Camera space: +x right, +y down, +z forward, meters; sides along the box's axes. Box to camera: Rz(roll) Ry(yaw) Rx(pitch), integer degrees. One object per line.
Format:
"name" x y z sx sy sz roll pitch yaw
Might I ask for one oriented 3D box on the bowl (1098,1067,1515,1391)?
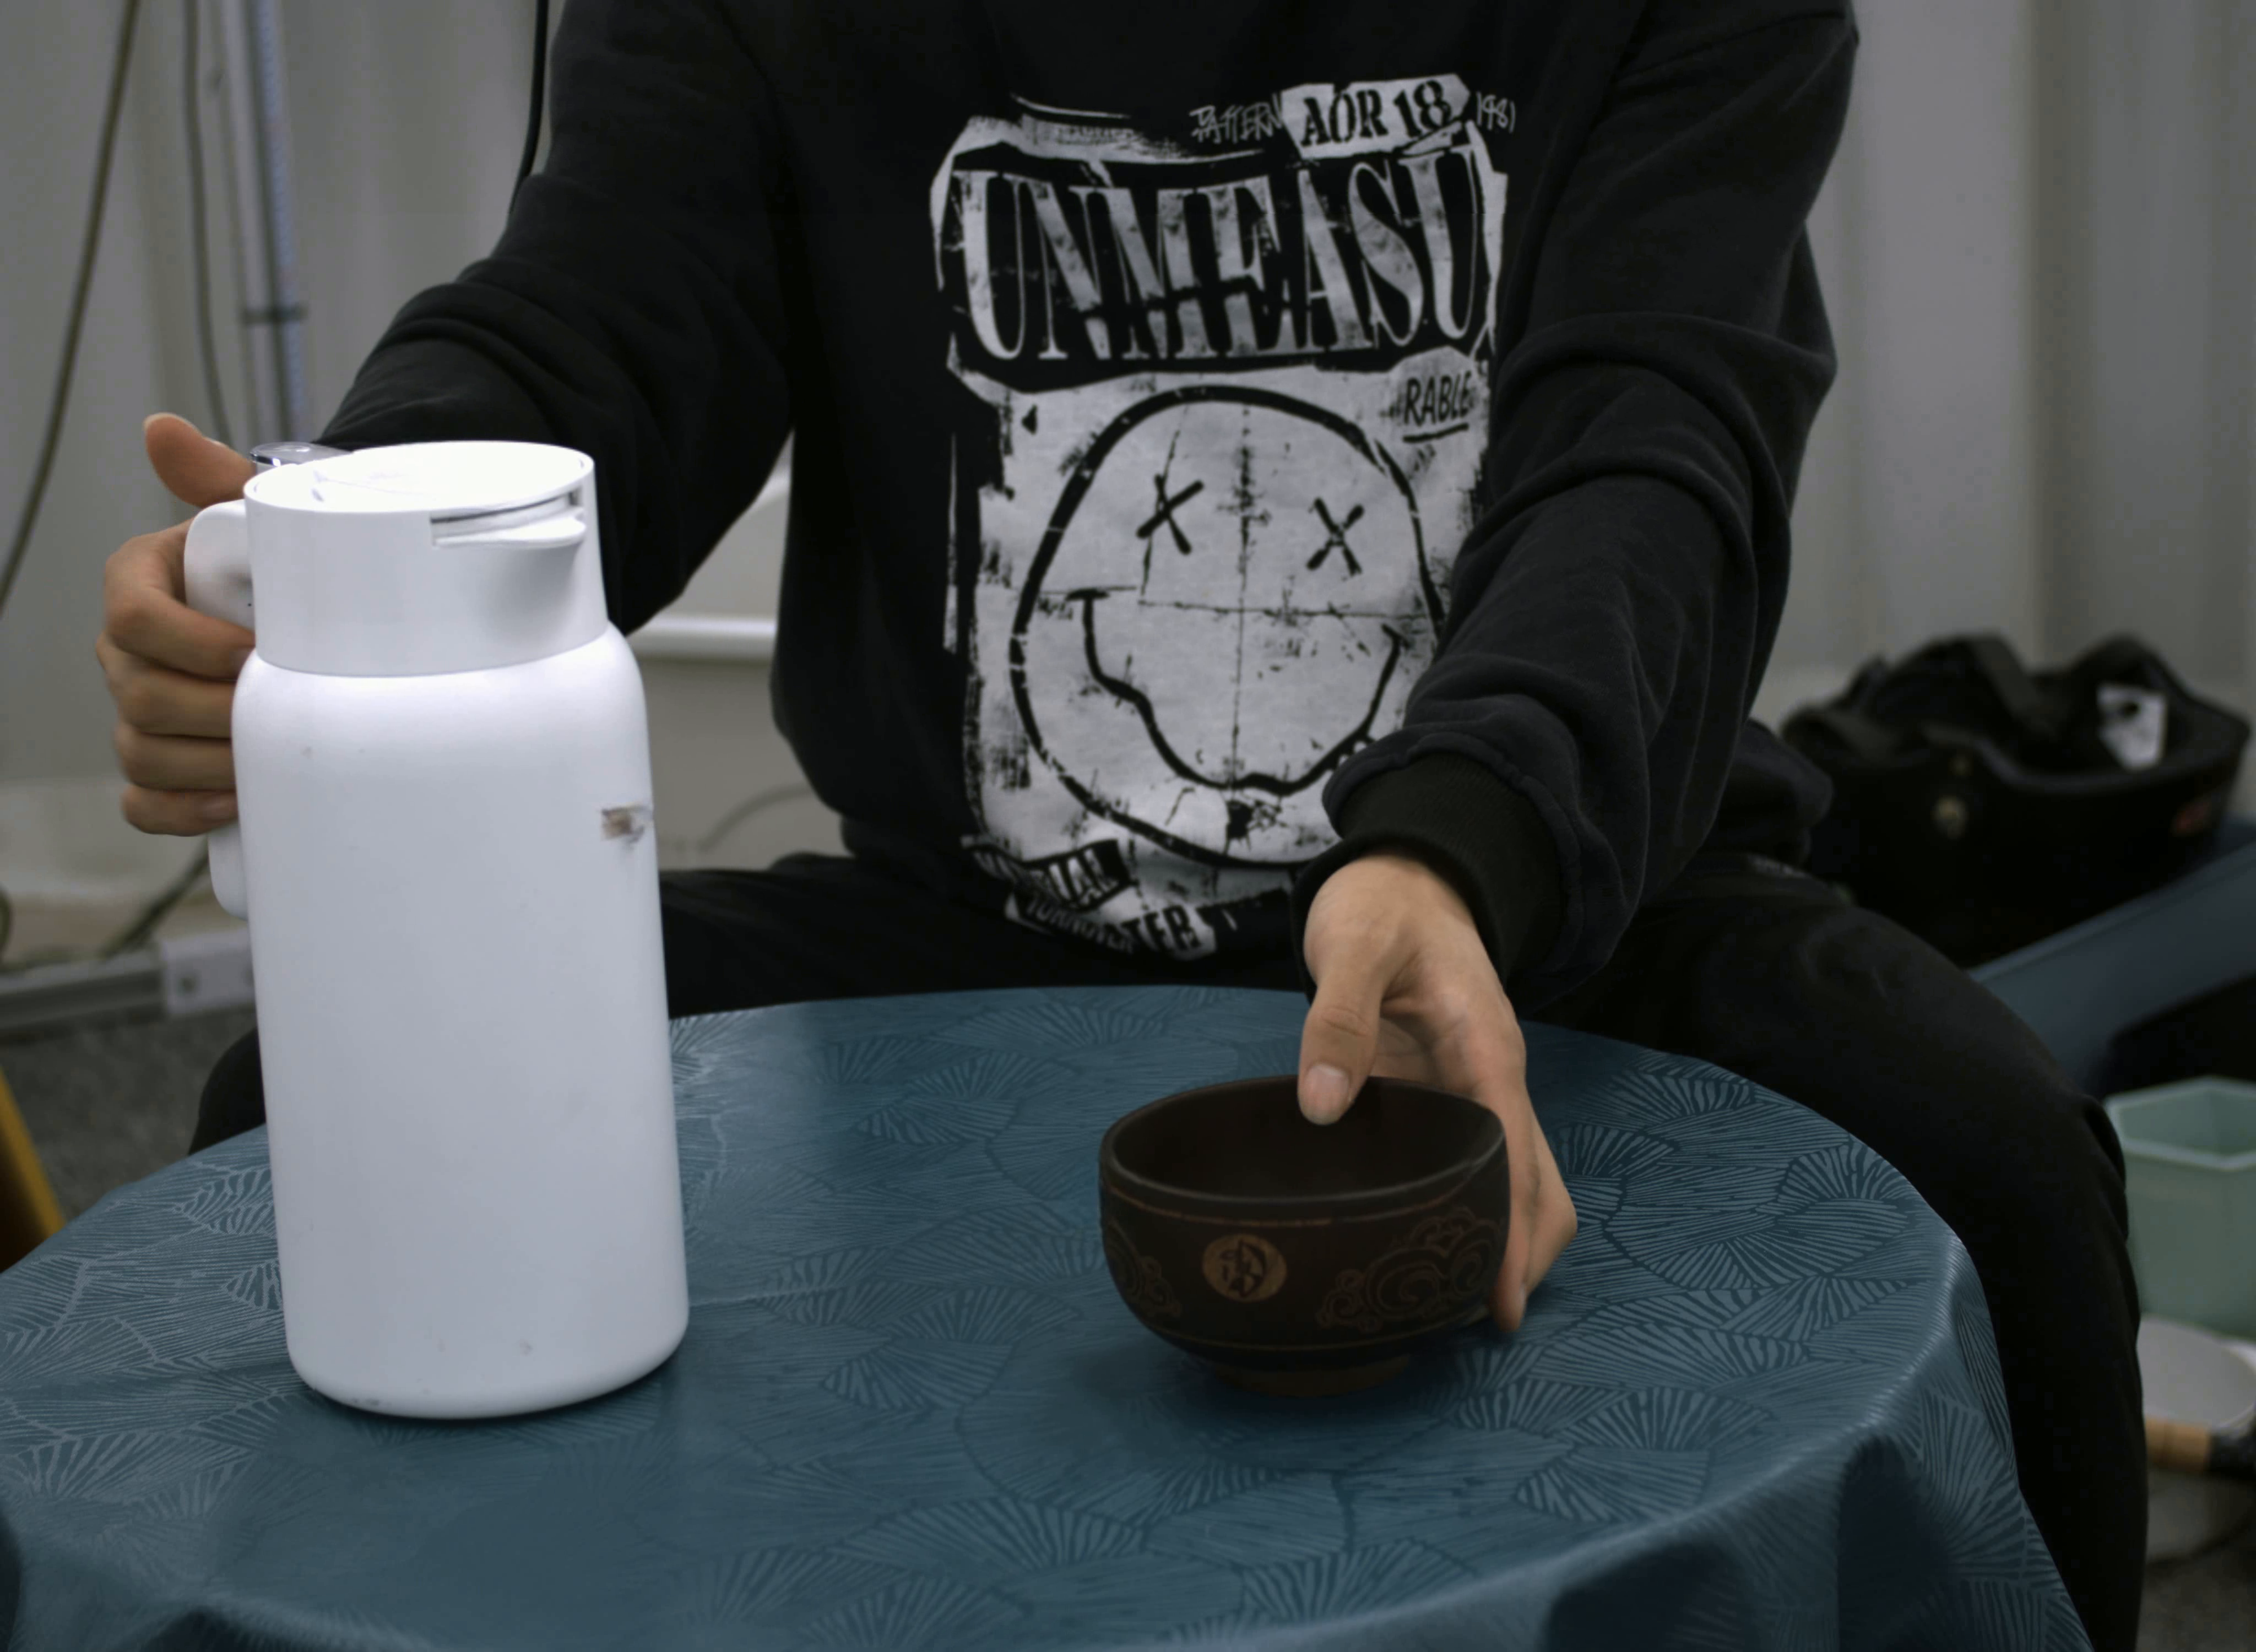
"bowl" 0.051 0.118 1.549 0.117 0.069 0.119 -3 14 1

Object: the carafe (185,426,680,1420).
"carafe" -0.205 0.025 1.575 0.123 0.268 0.174 -18 20 -42
